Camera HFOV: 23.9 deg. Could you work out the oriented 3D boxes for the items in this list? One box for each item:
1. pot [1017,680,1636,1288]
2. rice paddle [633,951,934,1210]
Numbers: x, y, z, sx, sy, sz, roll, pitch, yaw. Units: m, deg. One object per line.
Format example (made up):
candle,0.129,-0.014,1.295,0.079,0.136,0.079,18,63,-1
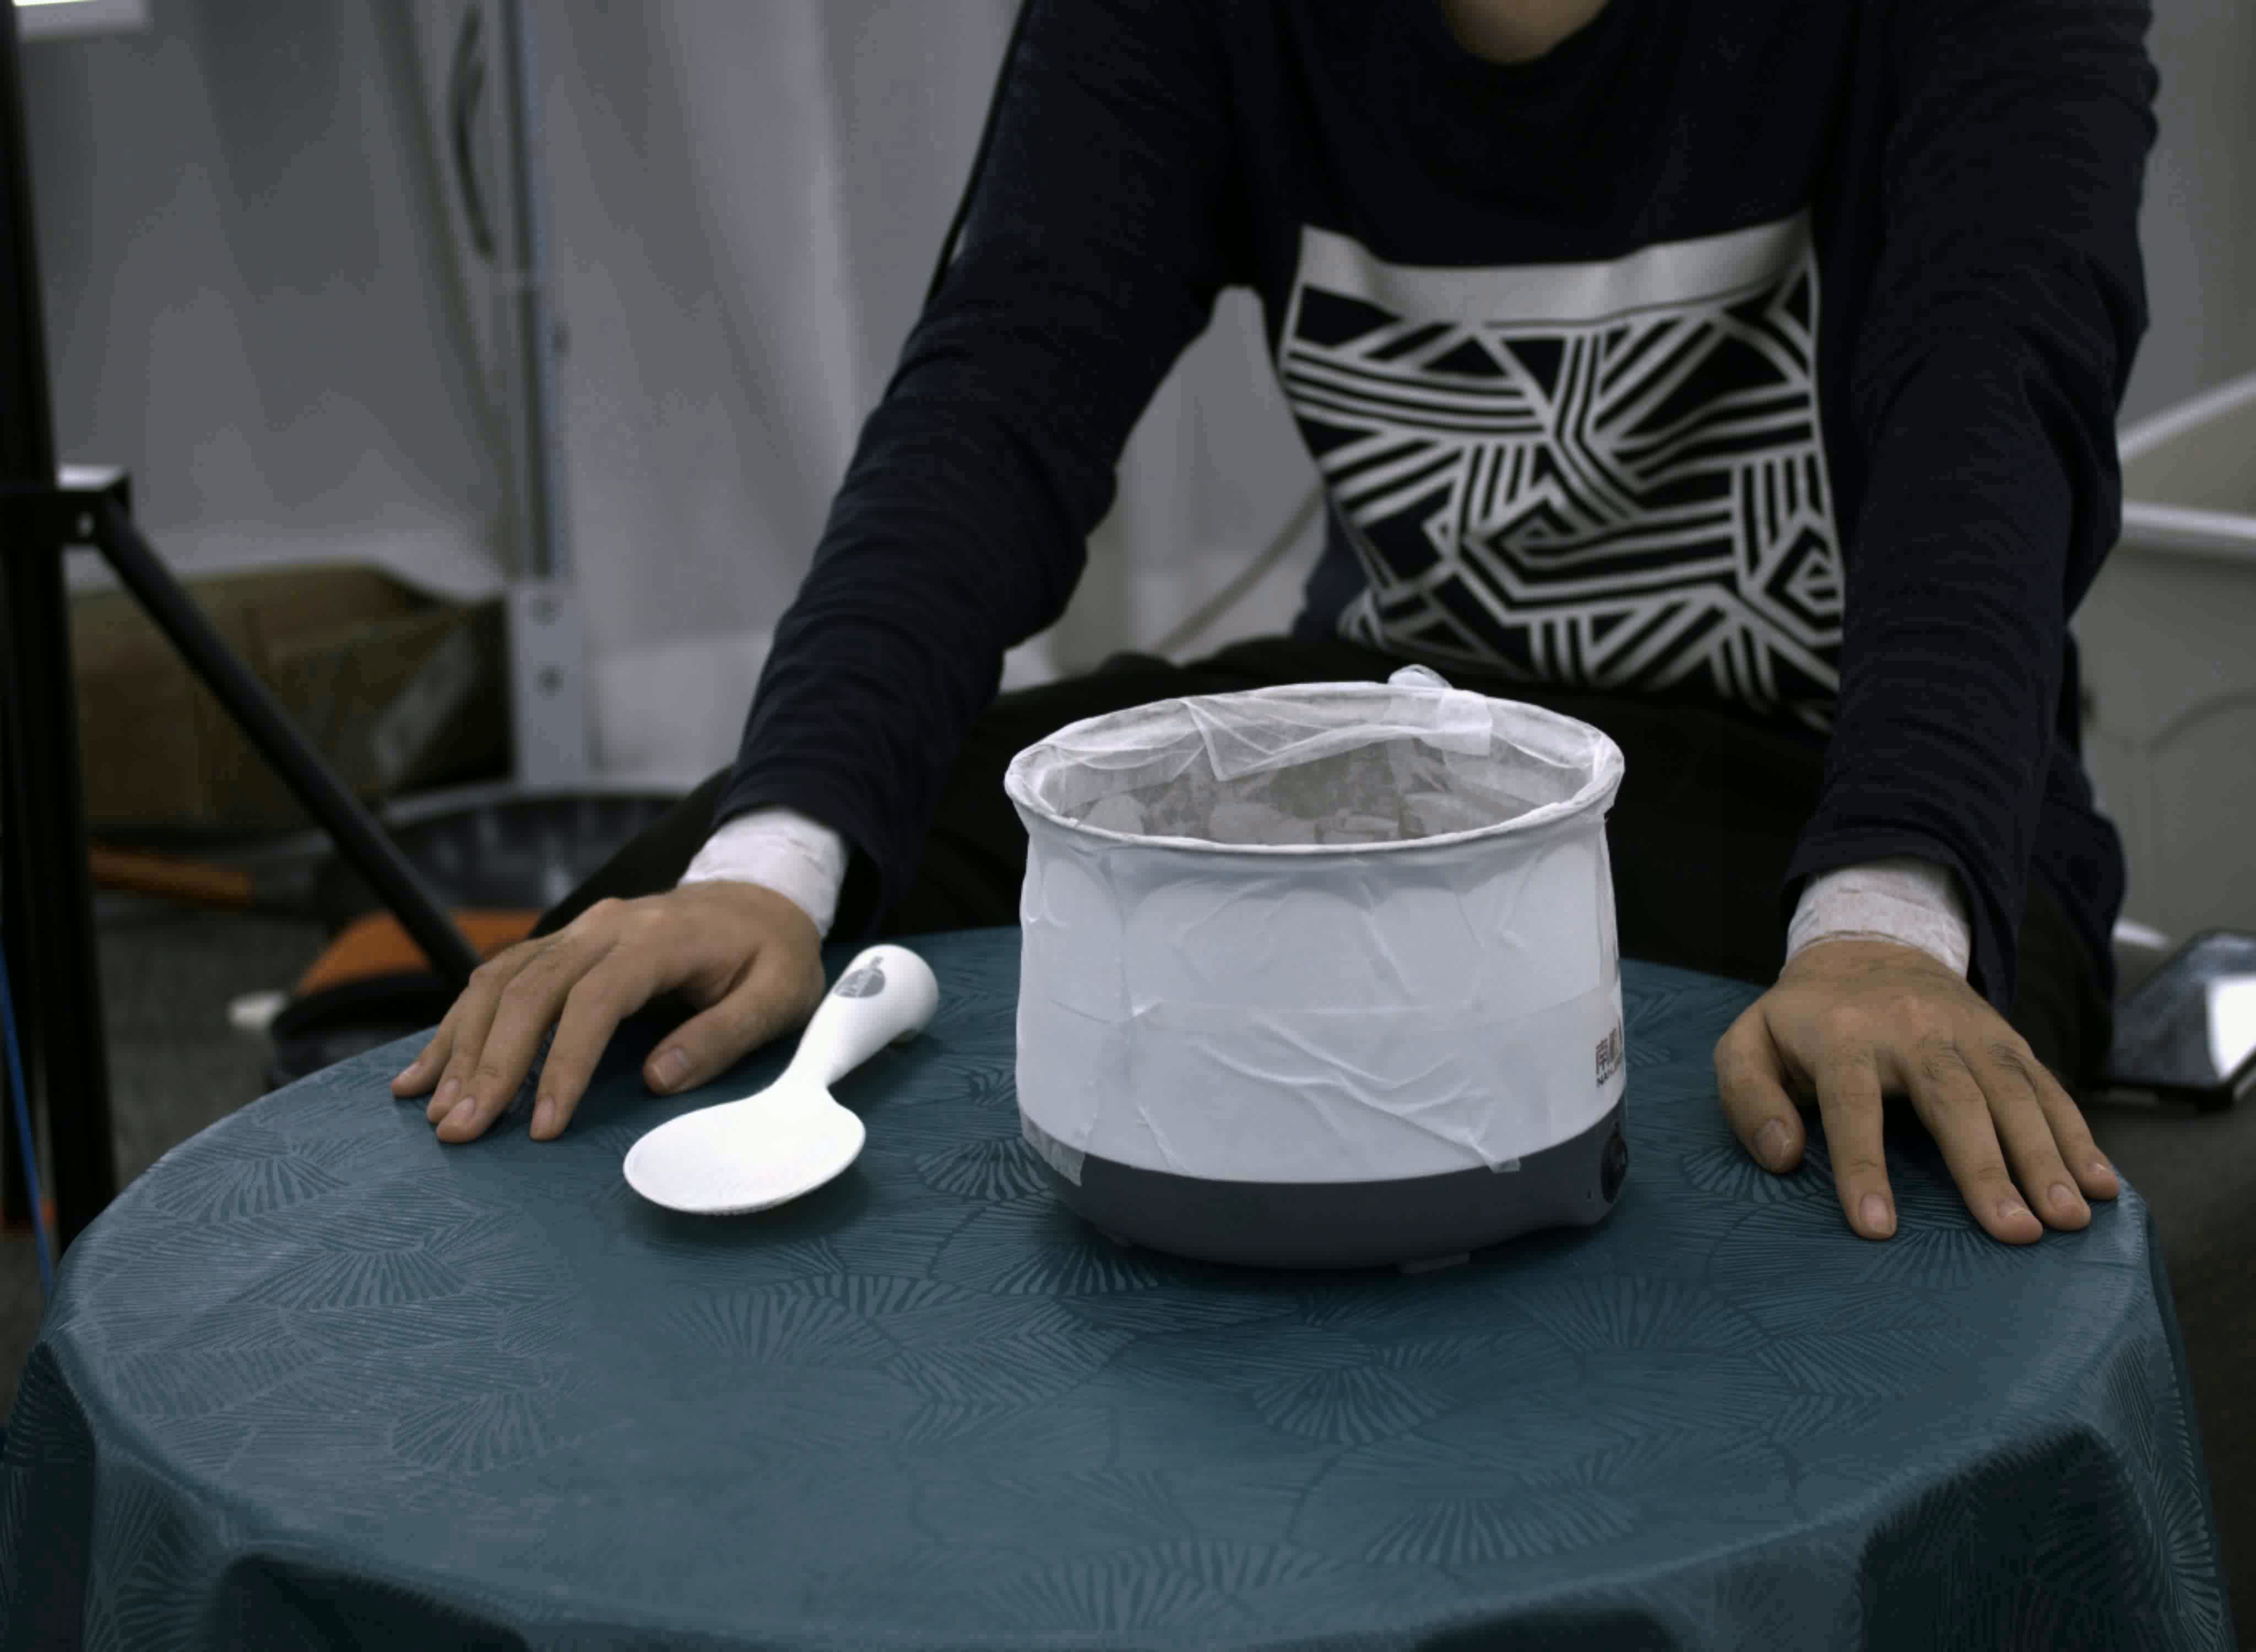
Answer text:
pot,0.065,0.040,1.557,0.181,0.136,0.231,5,16,19
rice paddle,-0.098,0.080,1.624,0.069,0.029,0.204,-1,15,13
